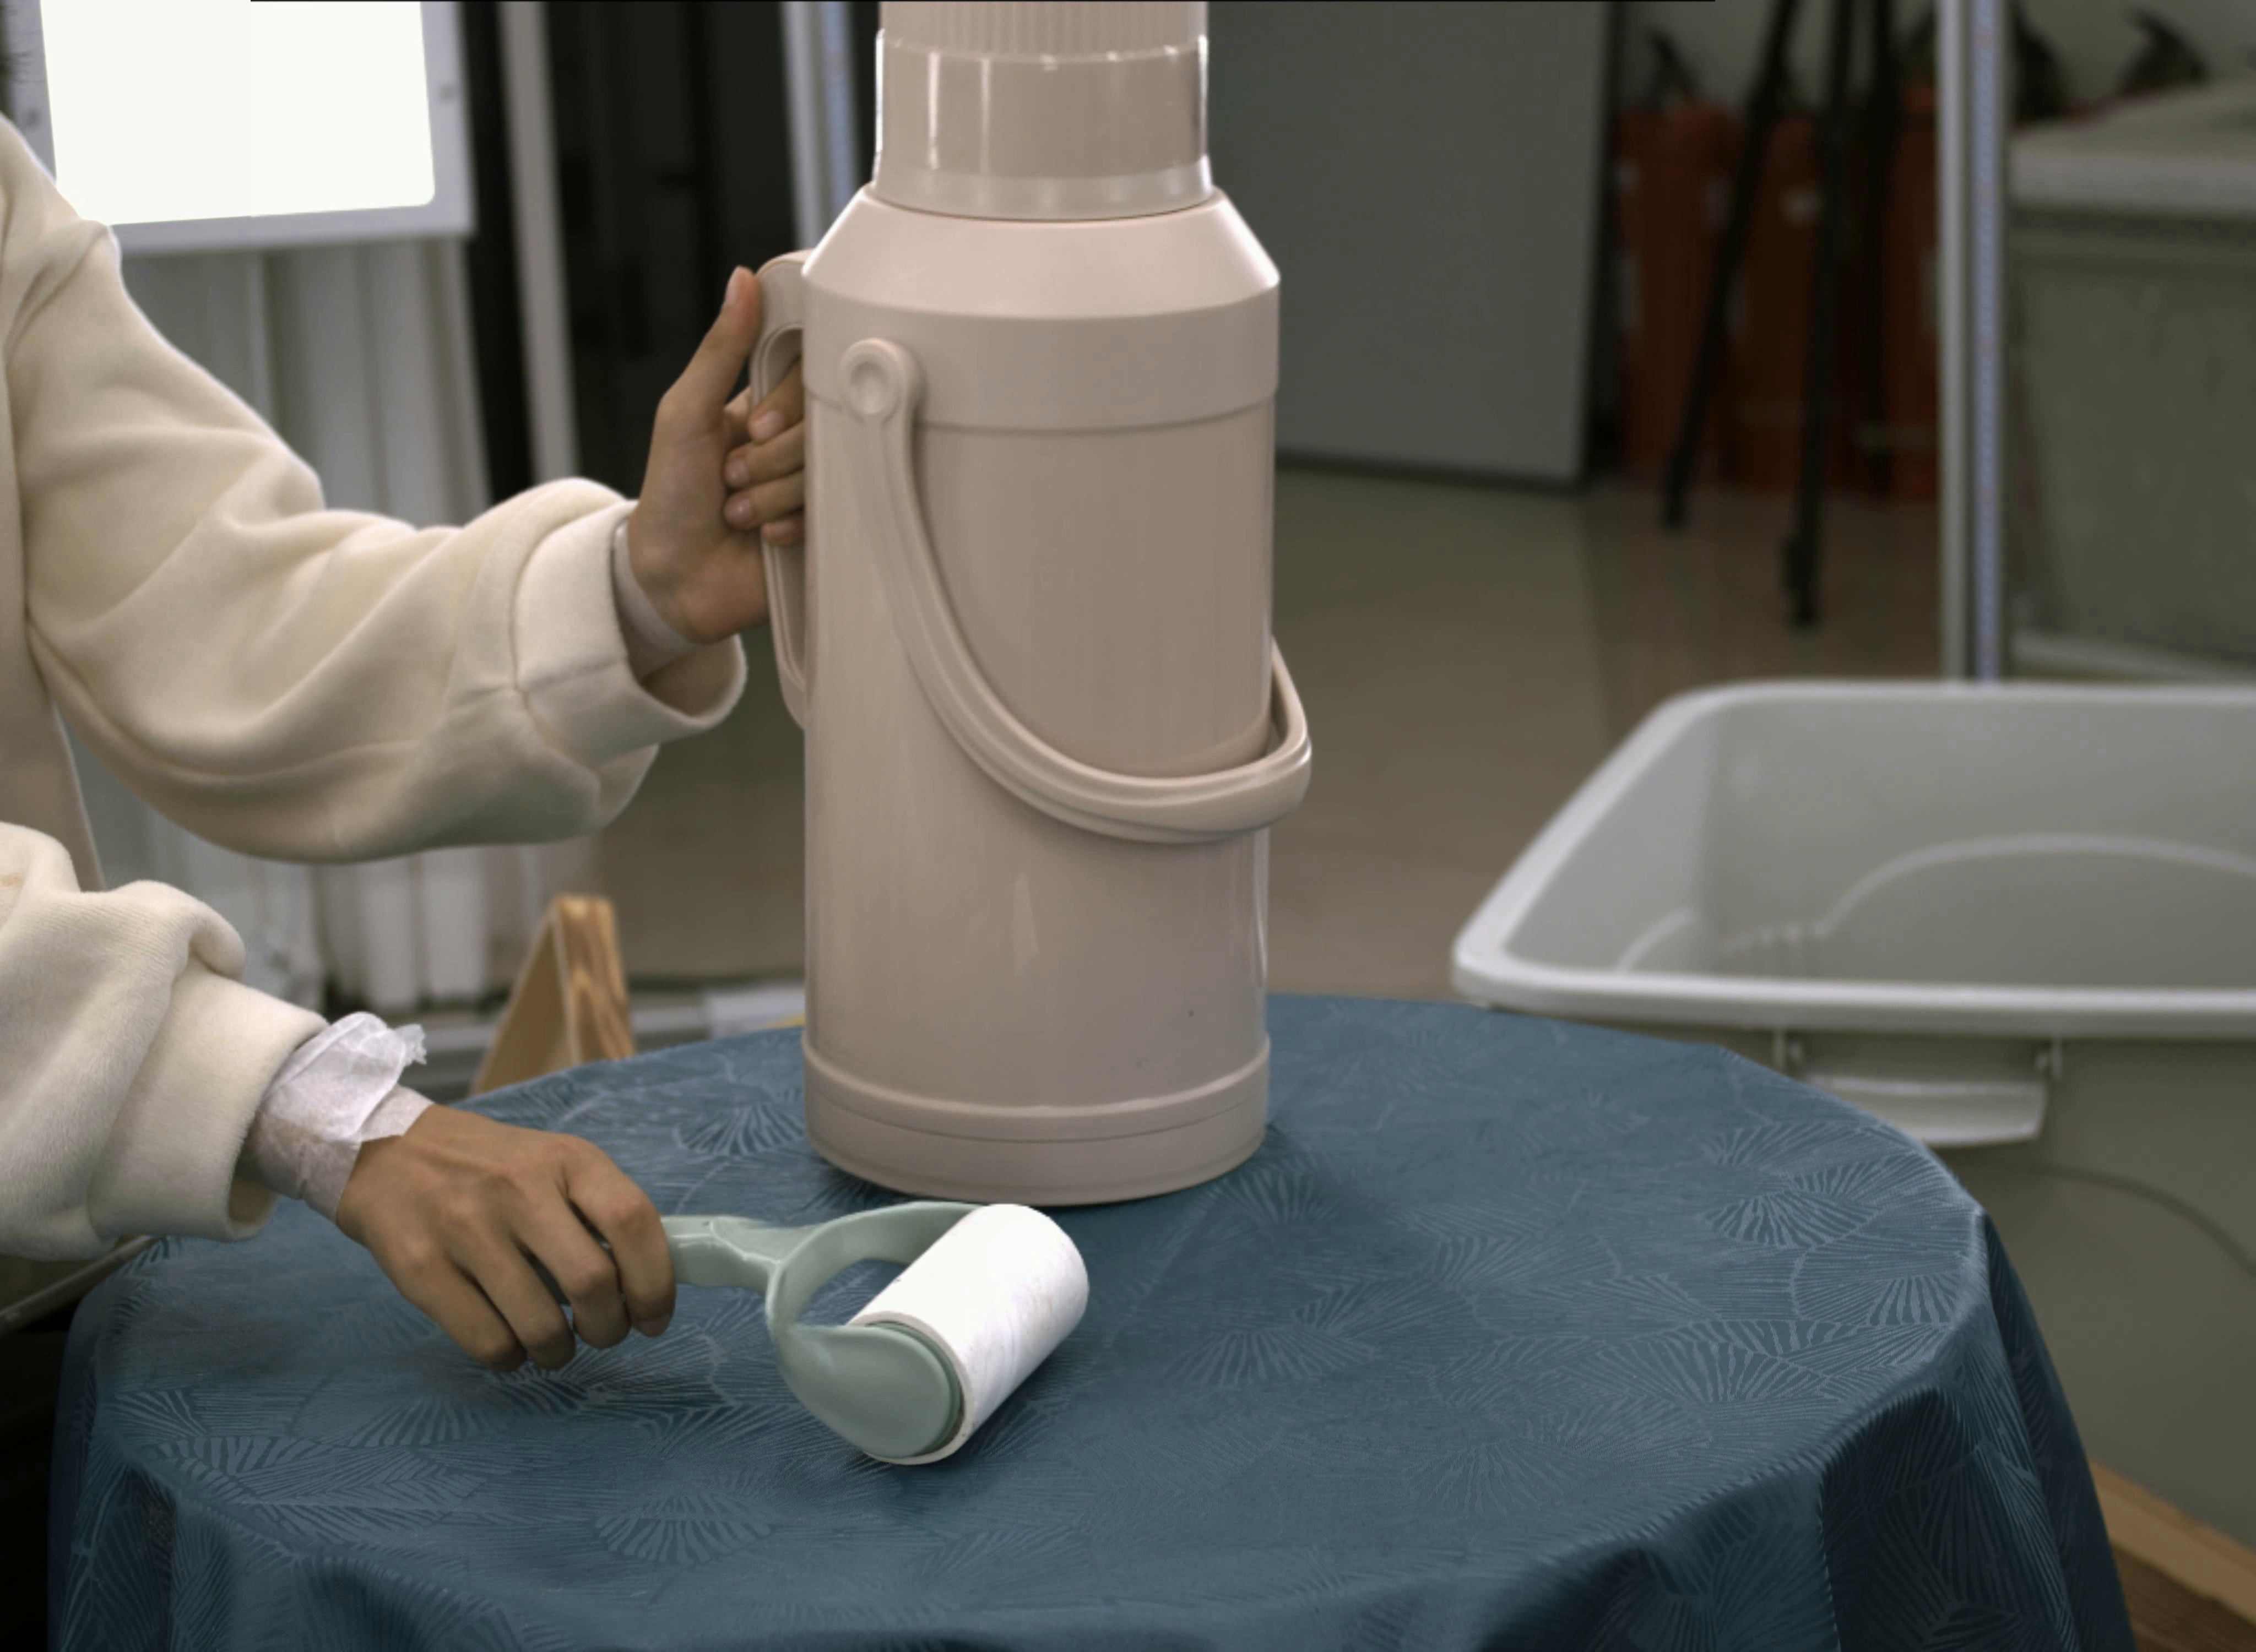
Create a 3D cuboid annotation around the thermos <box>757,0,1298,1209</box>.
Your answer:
[{"bbox_3d":[-0.038,-0.091,1.783,0.208,0.411,0.172,11,19,37],"label":"thermos"}]

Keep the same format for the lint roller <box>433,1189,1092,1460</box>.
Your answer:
[{"bbox_3d":[-0.116,0.137,1.610,0.197,0.049,0.115,8,19,20],"label":"lint roller"}]
